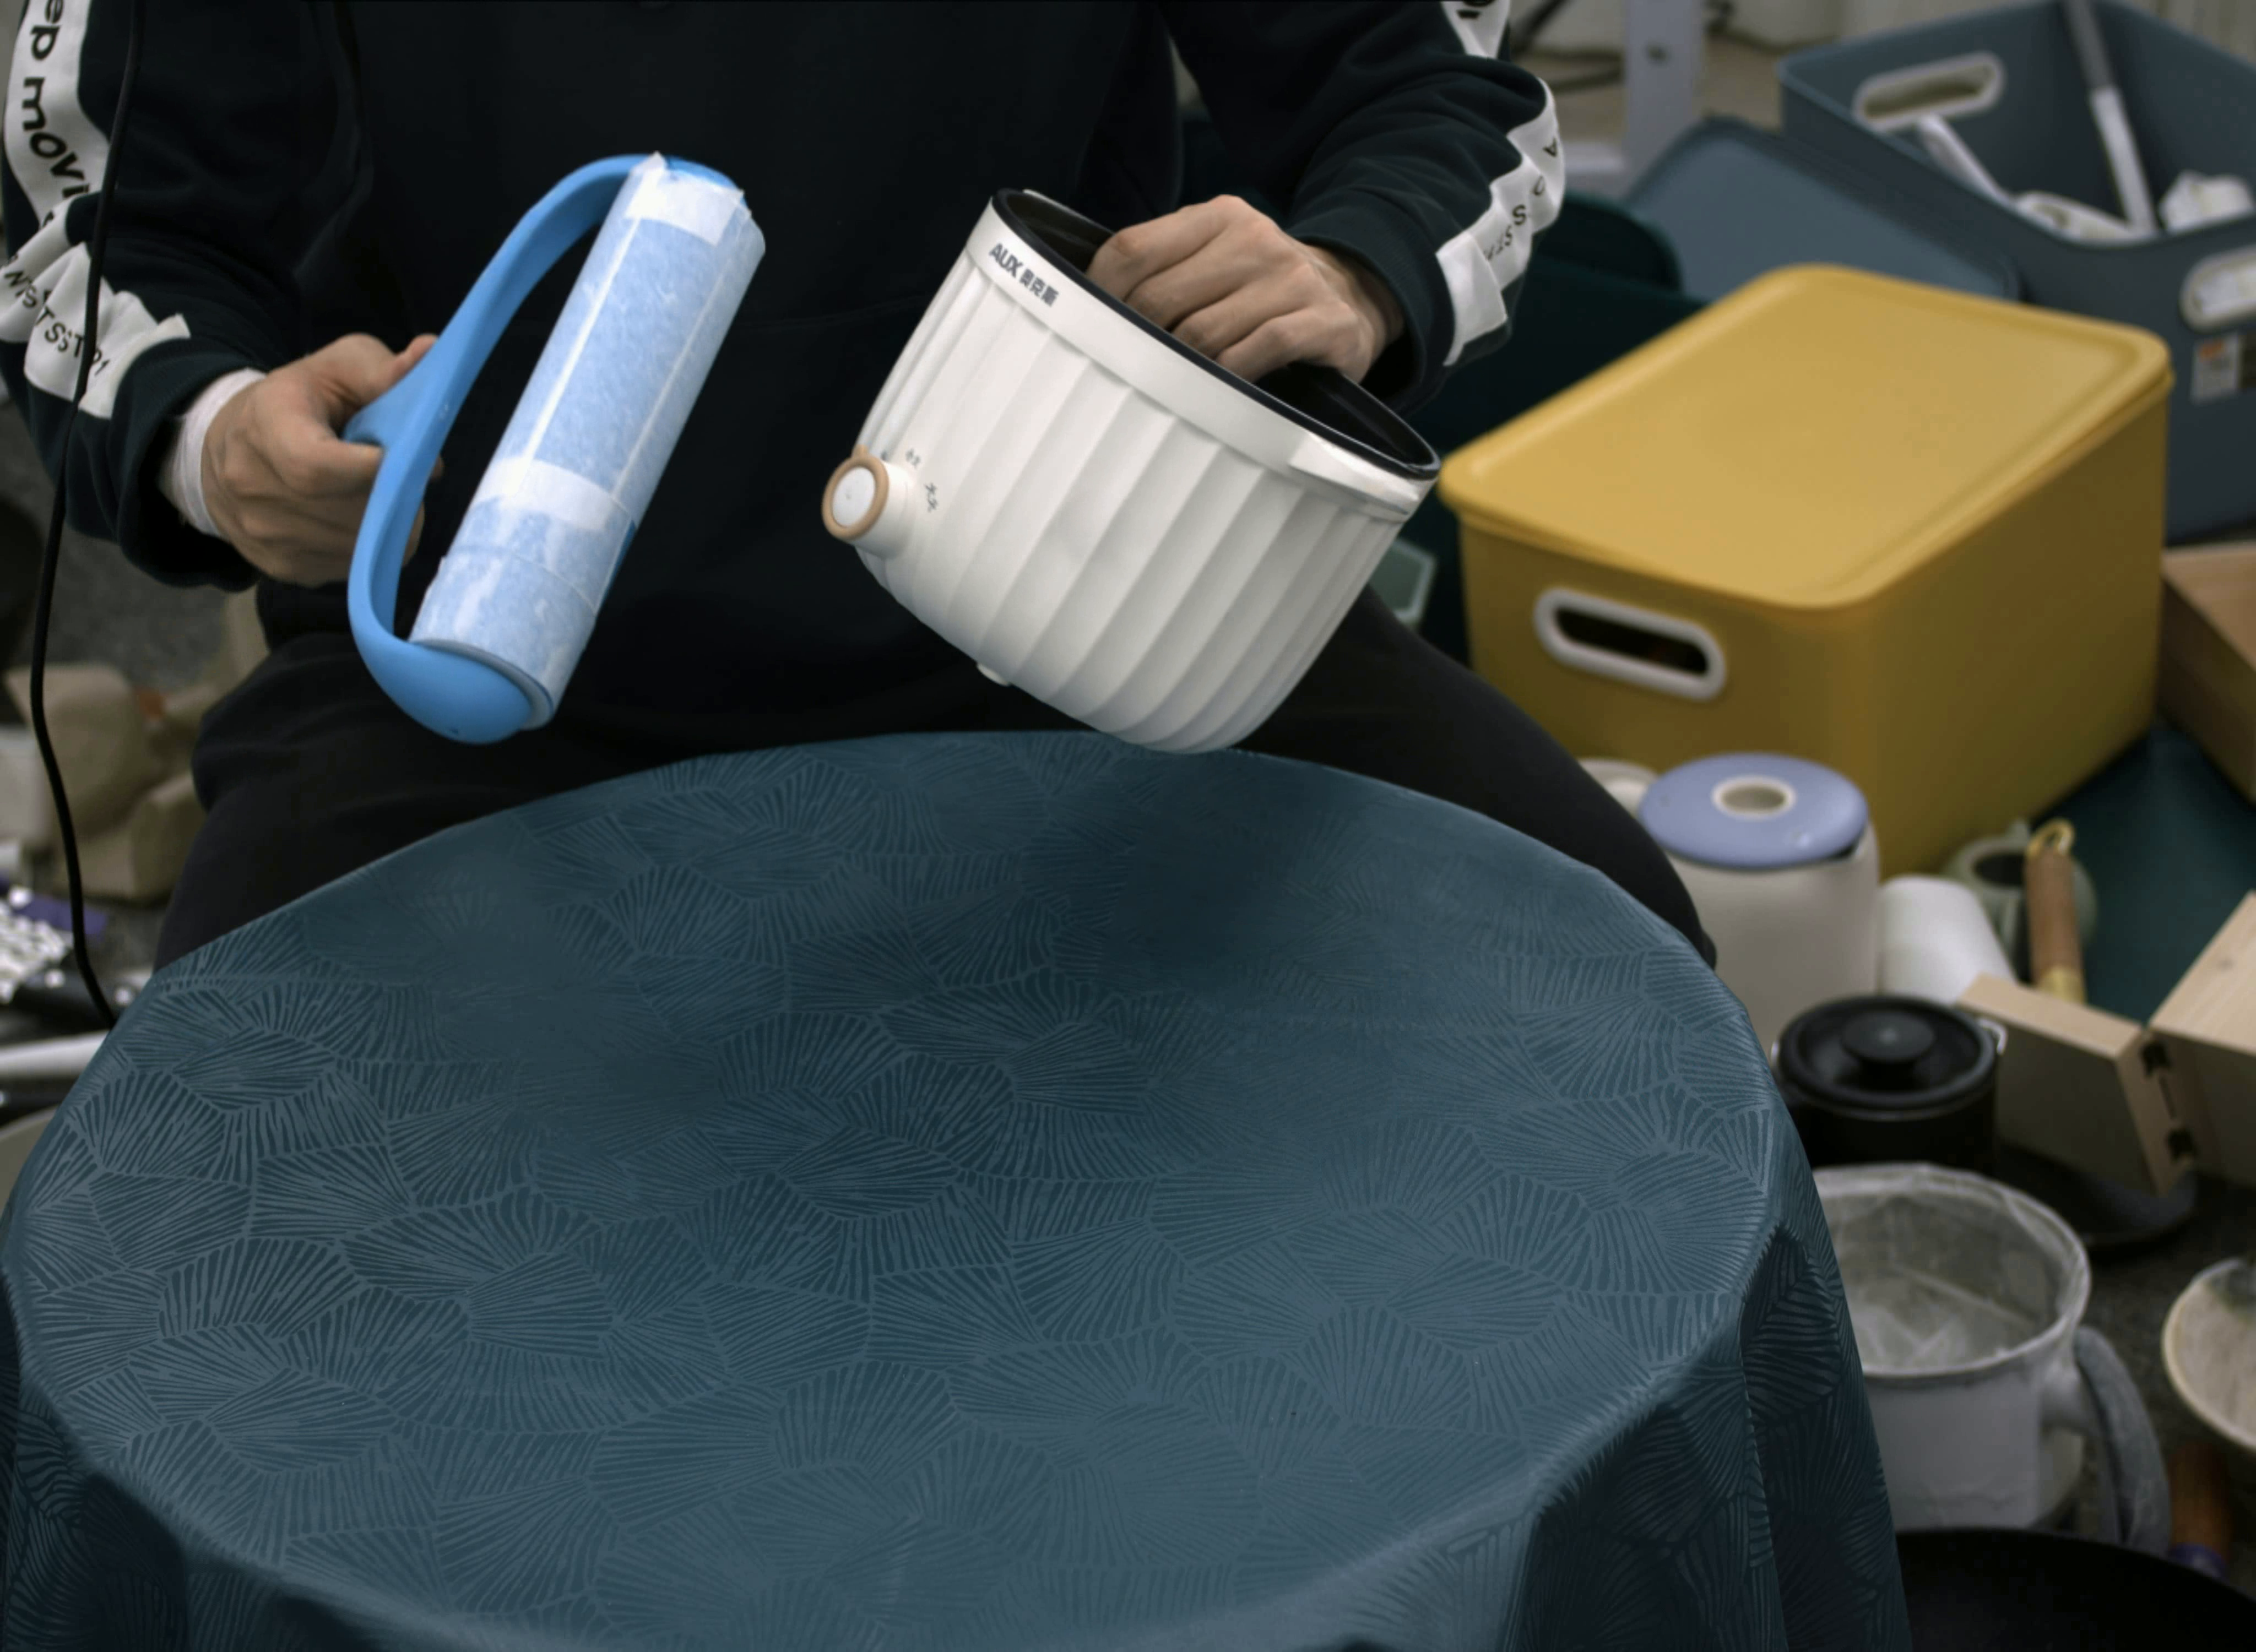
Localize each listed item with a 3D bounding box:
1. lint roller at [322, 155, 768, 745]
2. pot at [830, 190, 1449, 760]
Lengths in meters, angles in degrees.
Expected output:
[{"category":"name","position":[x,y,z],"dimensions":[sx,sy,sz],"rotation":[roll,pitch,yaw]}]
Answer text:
[{"category":"lint roller","position":[-0.223,-0.120,1.902],"dimensions":[0.178,0.067,0.233],"rotation":[-8,52,36]},{"category":"pot","position":[-0.004,-0.115,1.943],"dimensions":[0.190,0.142,0.242],"rotation":[27,10,-44]}]
